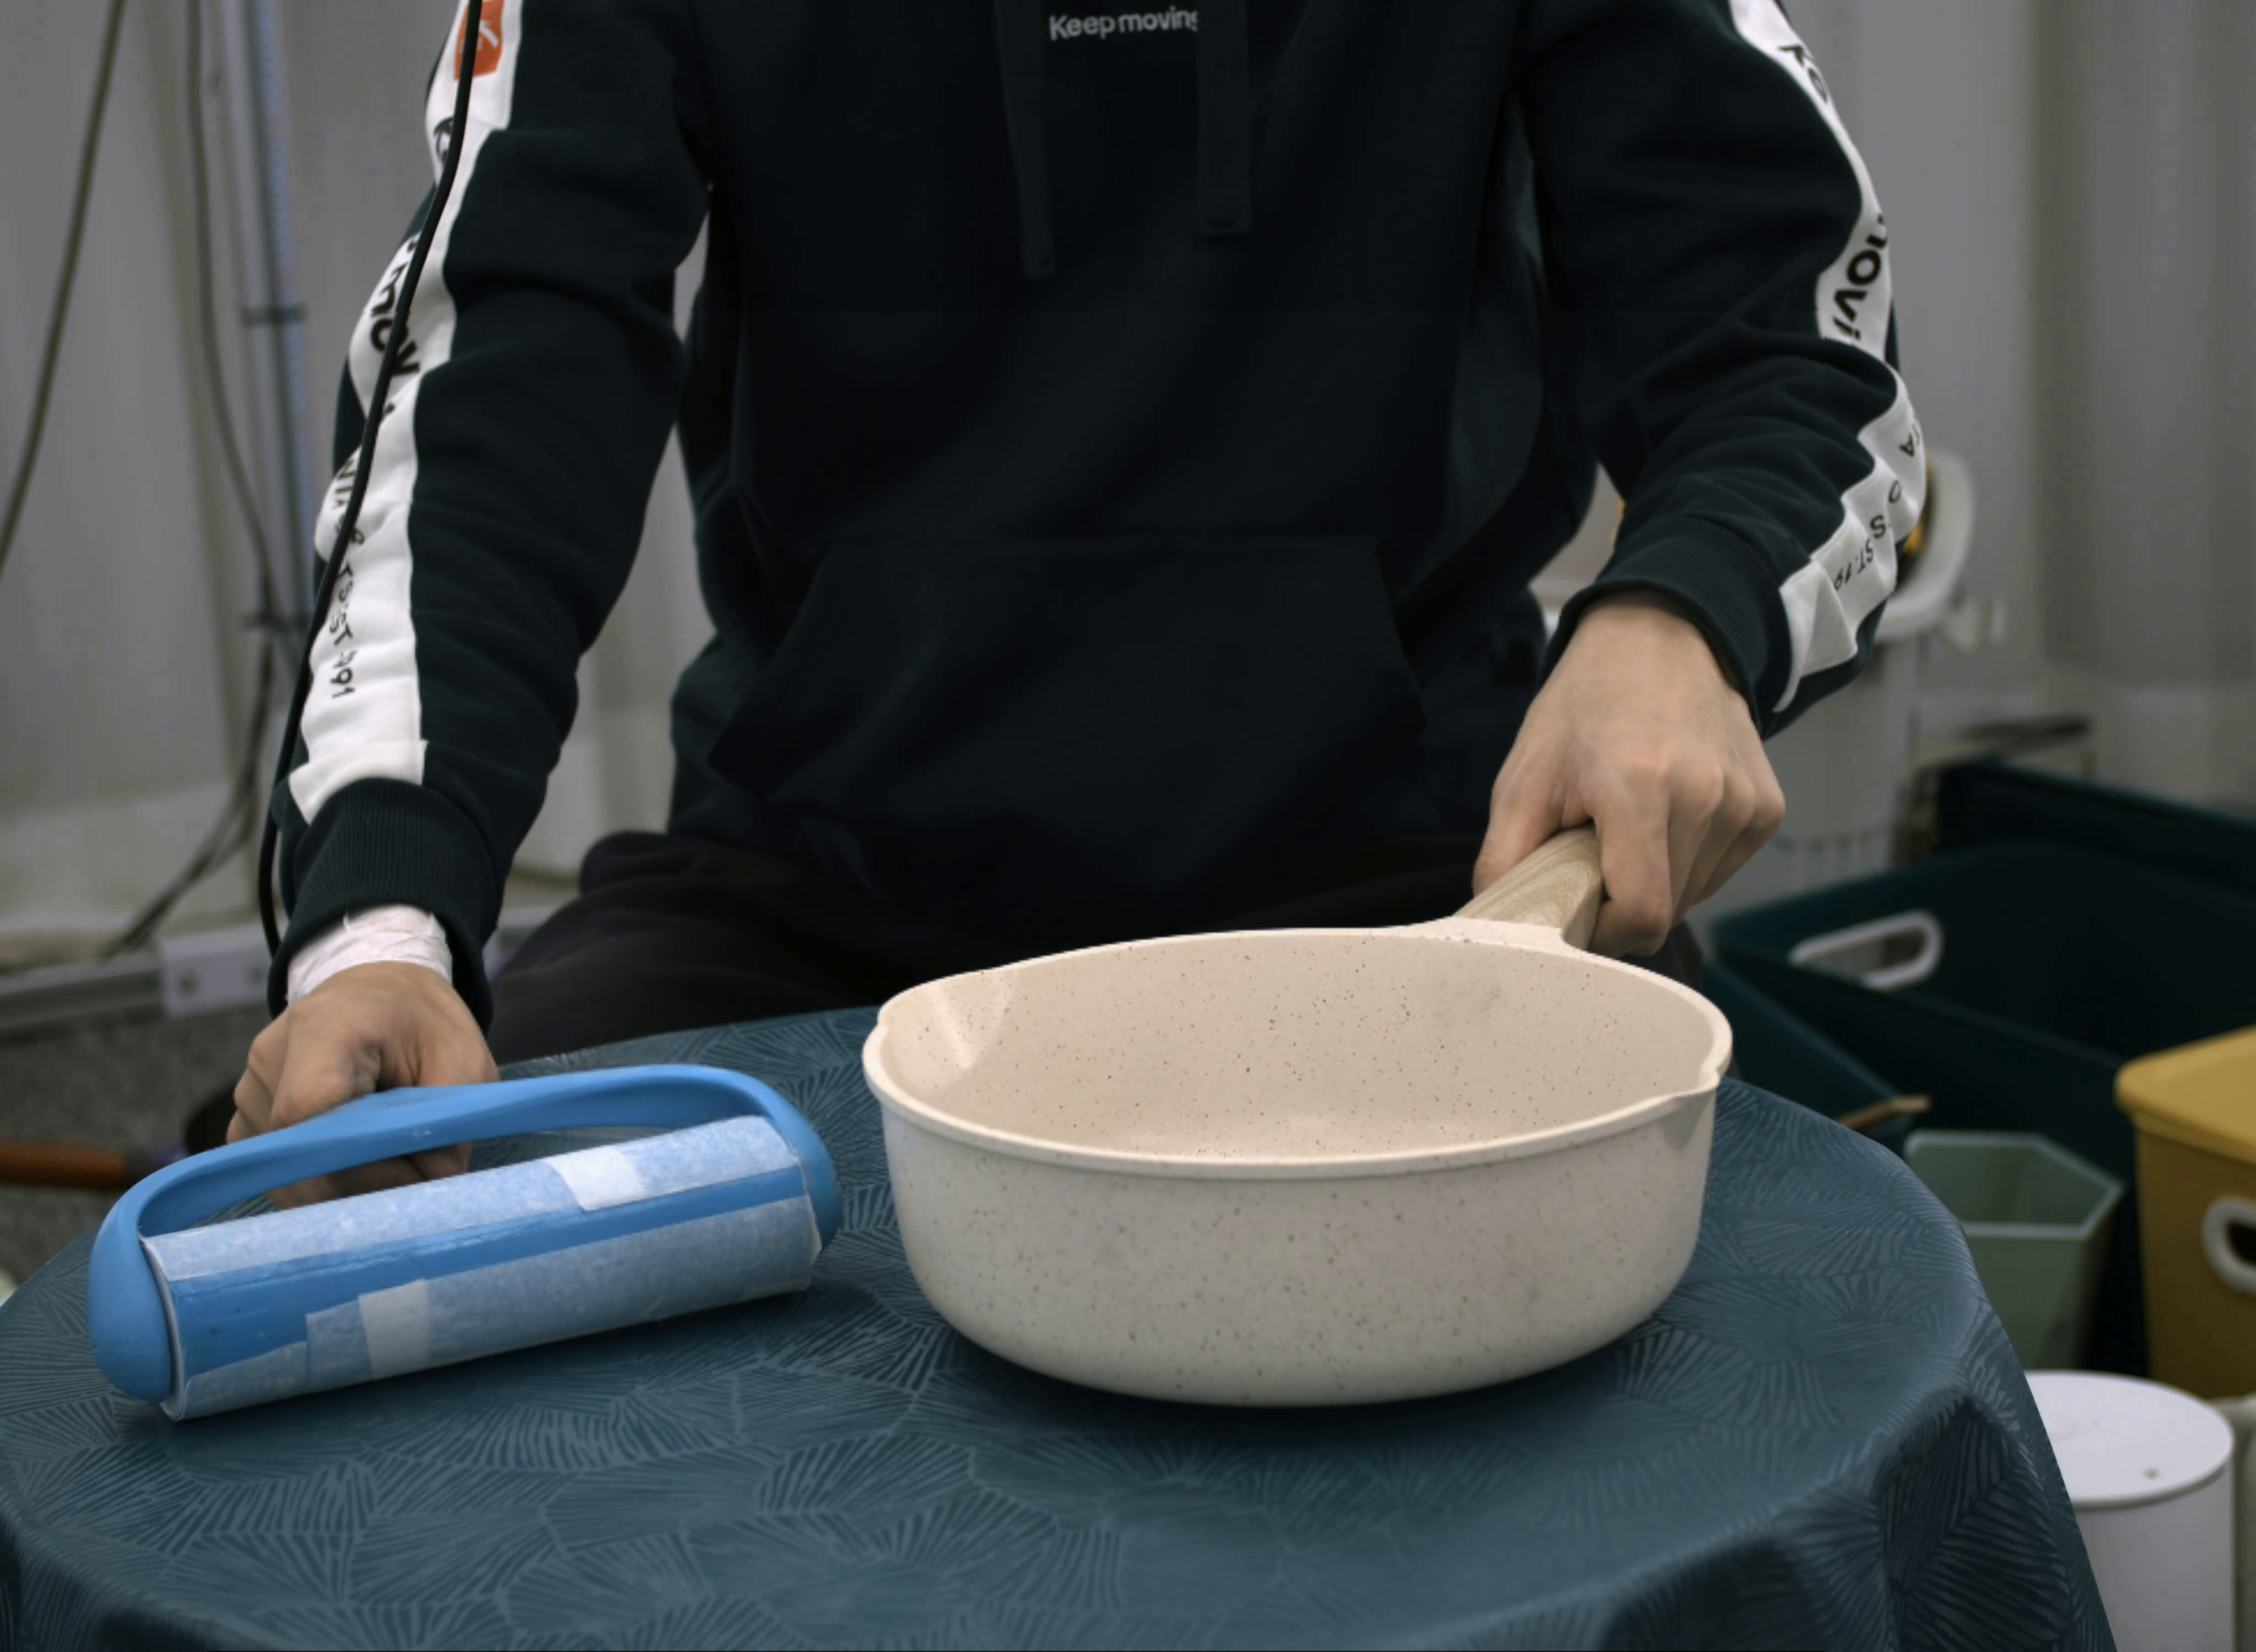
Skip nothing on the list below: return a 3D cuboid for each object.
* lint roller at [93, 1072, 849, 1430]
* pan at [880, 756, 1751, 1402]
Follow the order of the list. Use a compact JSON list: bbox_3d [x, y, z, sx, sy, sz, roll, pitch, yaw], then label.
[{"bbox_3d":[-0.216,0.113,1.645,0.228,0.067,0.182,-13,20,-25],"label":"lint roller"},{"bbox_3d":[0.096,0.072,1.661,0.264,0.102,0.435,4,14,27],"label":"pan"}]
